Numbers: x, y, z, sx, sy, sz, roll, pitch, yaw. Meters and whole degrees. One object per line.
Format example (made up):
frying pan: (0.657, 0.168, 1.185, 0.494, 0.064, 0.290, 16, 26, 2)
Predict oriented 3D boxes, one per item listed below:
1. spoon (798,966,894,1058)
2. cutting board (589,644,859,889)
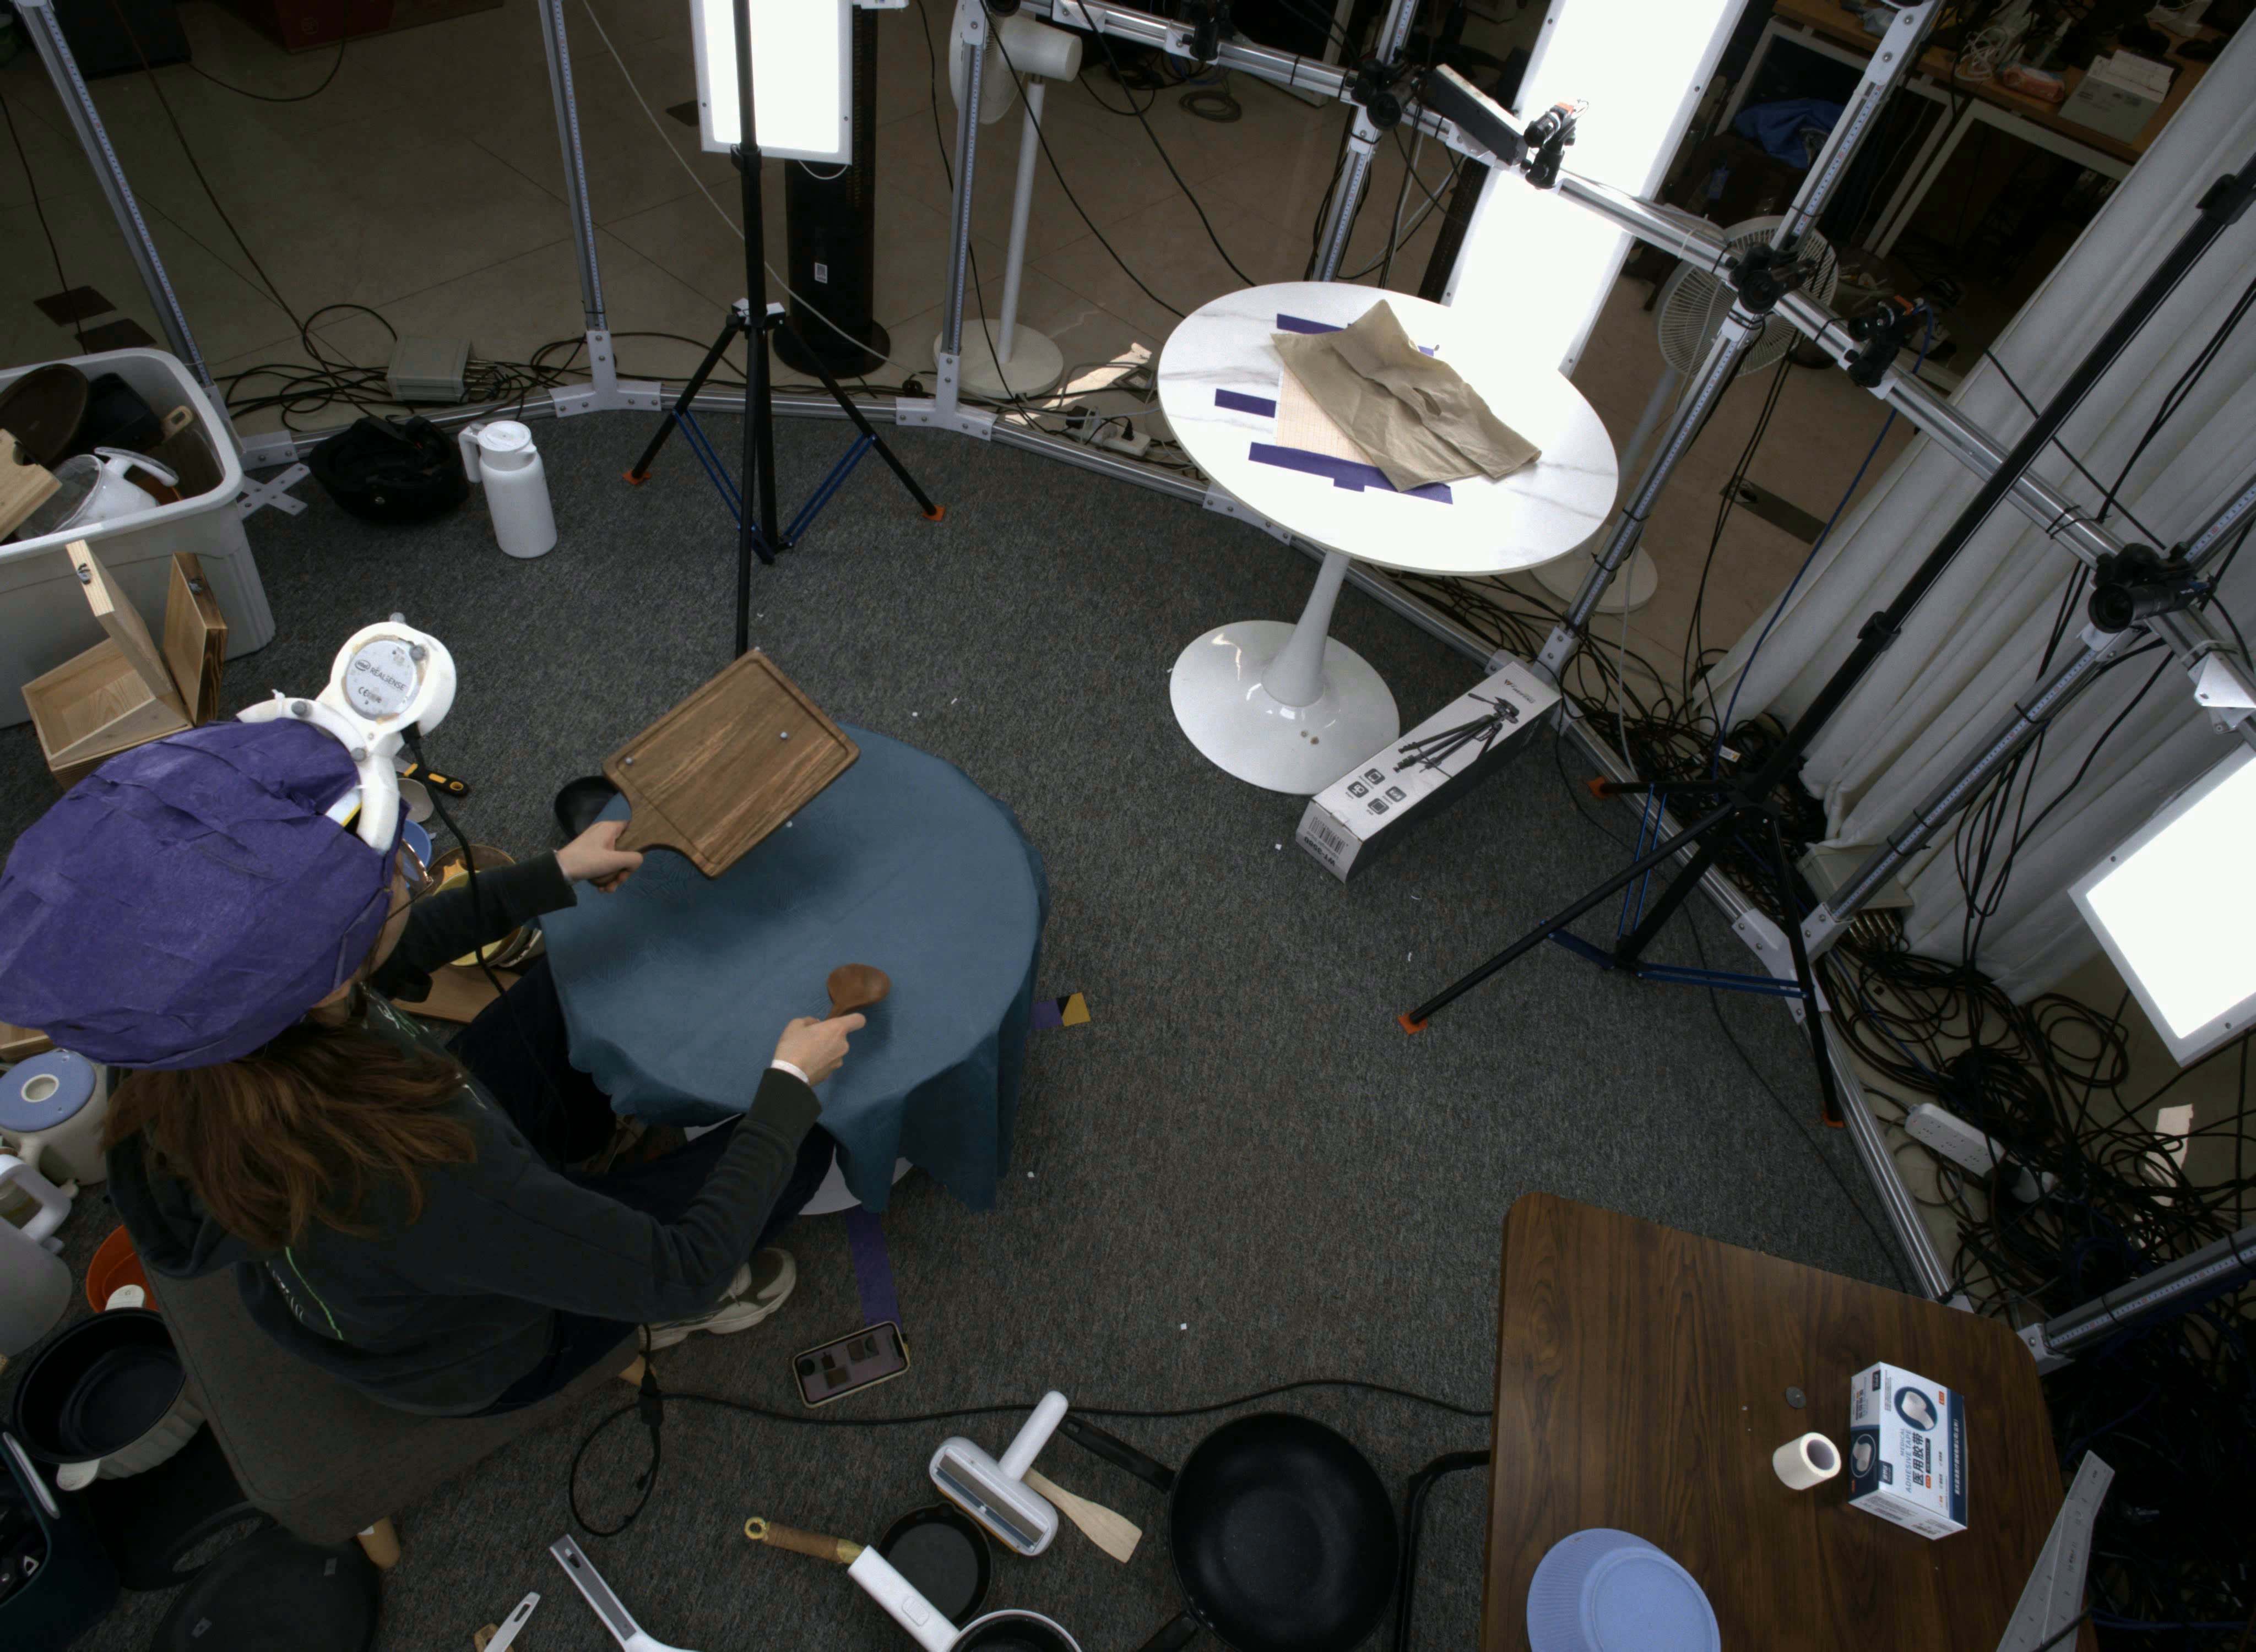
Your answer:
spoon: (-0.328, 0.209, 1.484, 0.074, 0.017, 0.214, 17, 19, 4)
cutting board: (-0.516, -0.052, 1.559, 0.201, 0.023, 0.352, 45, 63, -2)
